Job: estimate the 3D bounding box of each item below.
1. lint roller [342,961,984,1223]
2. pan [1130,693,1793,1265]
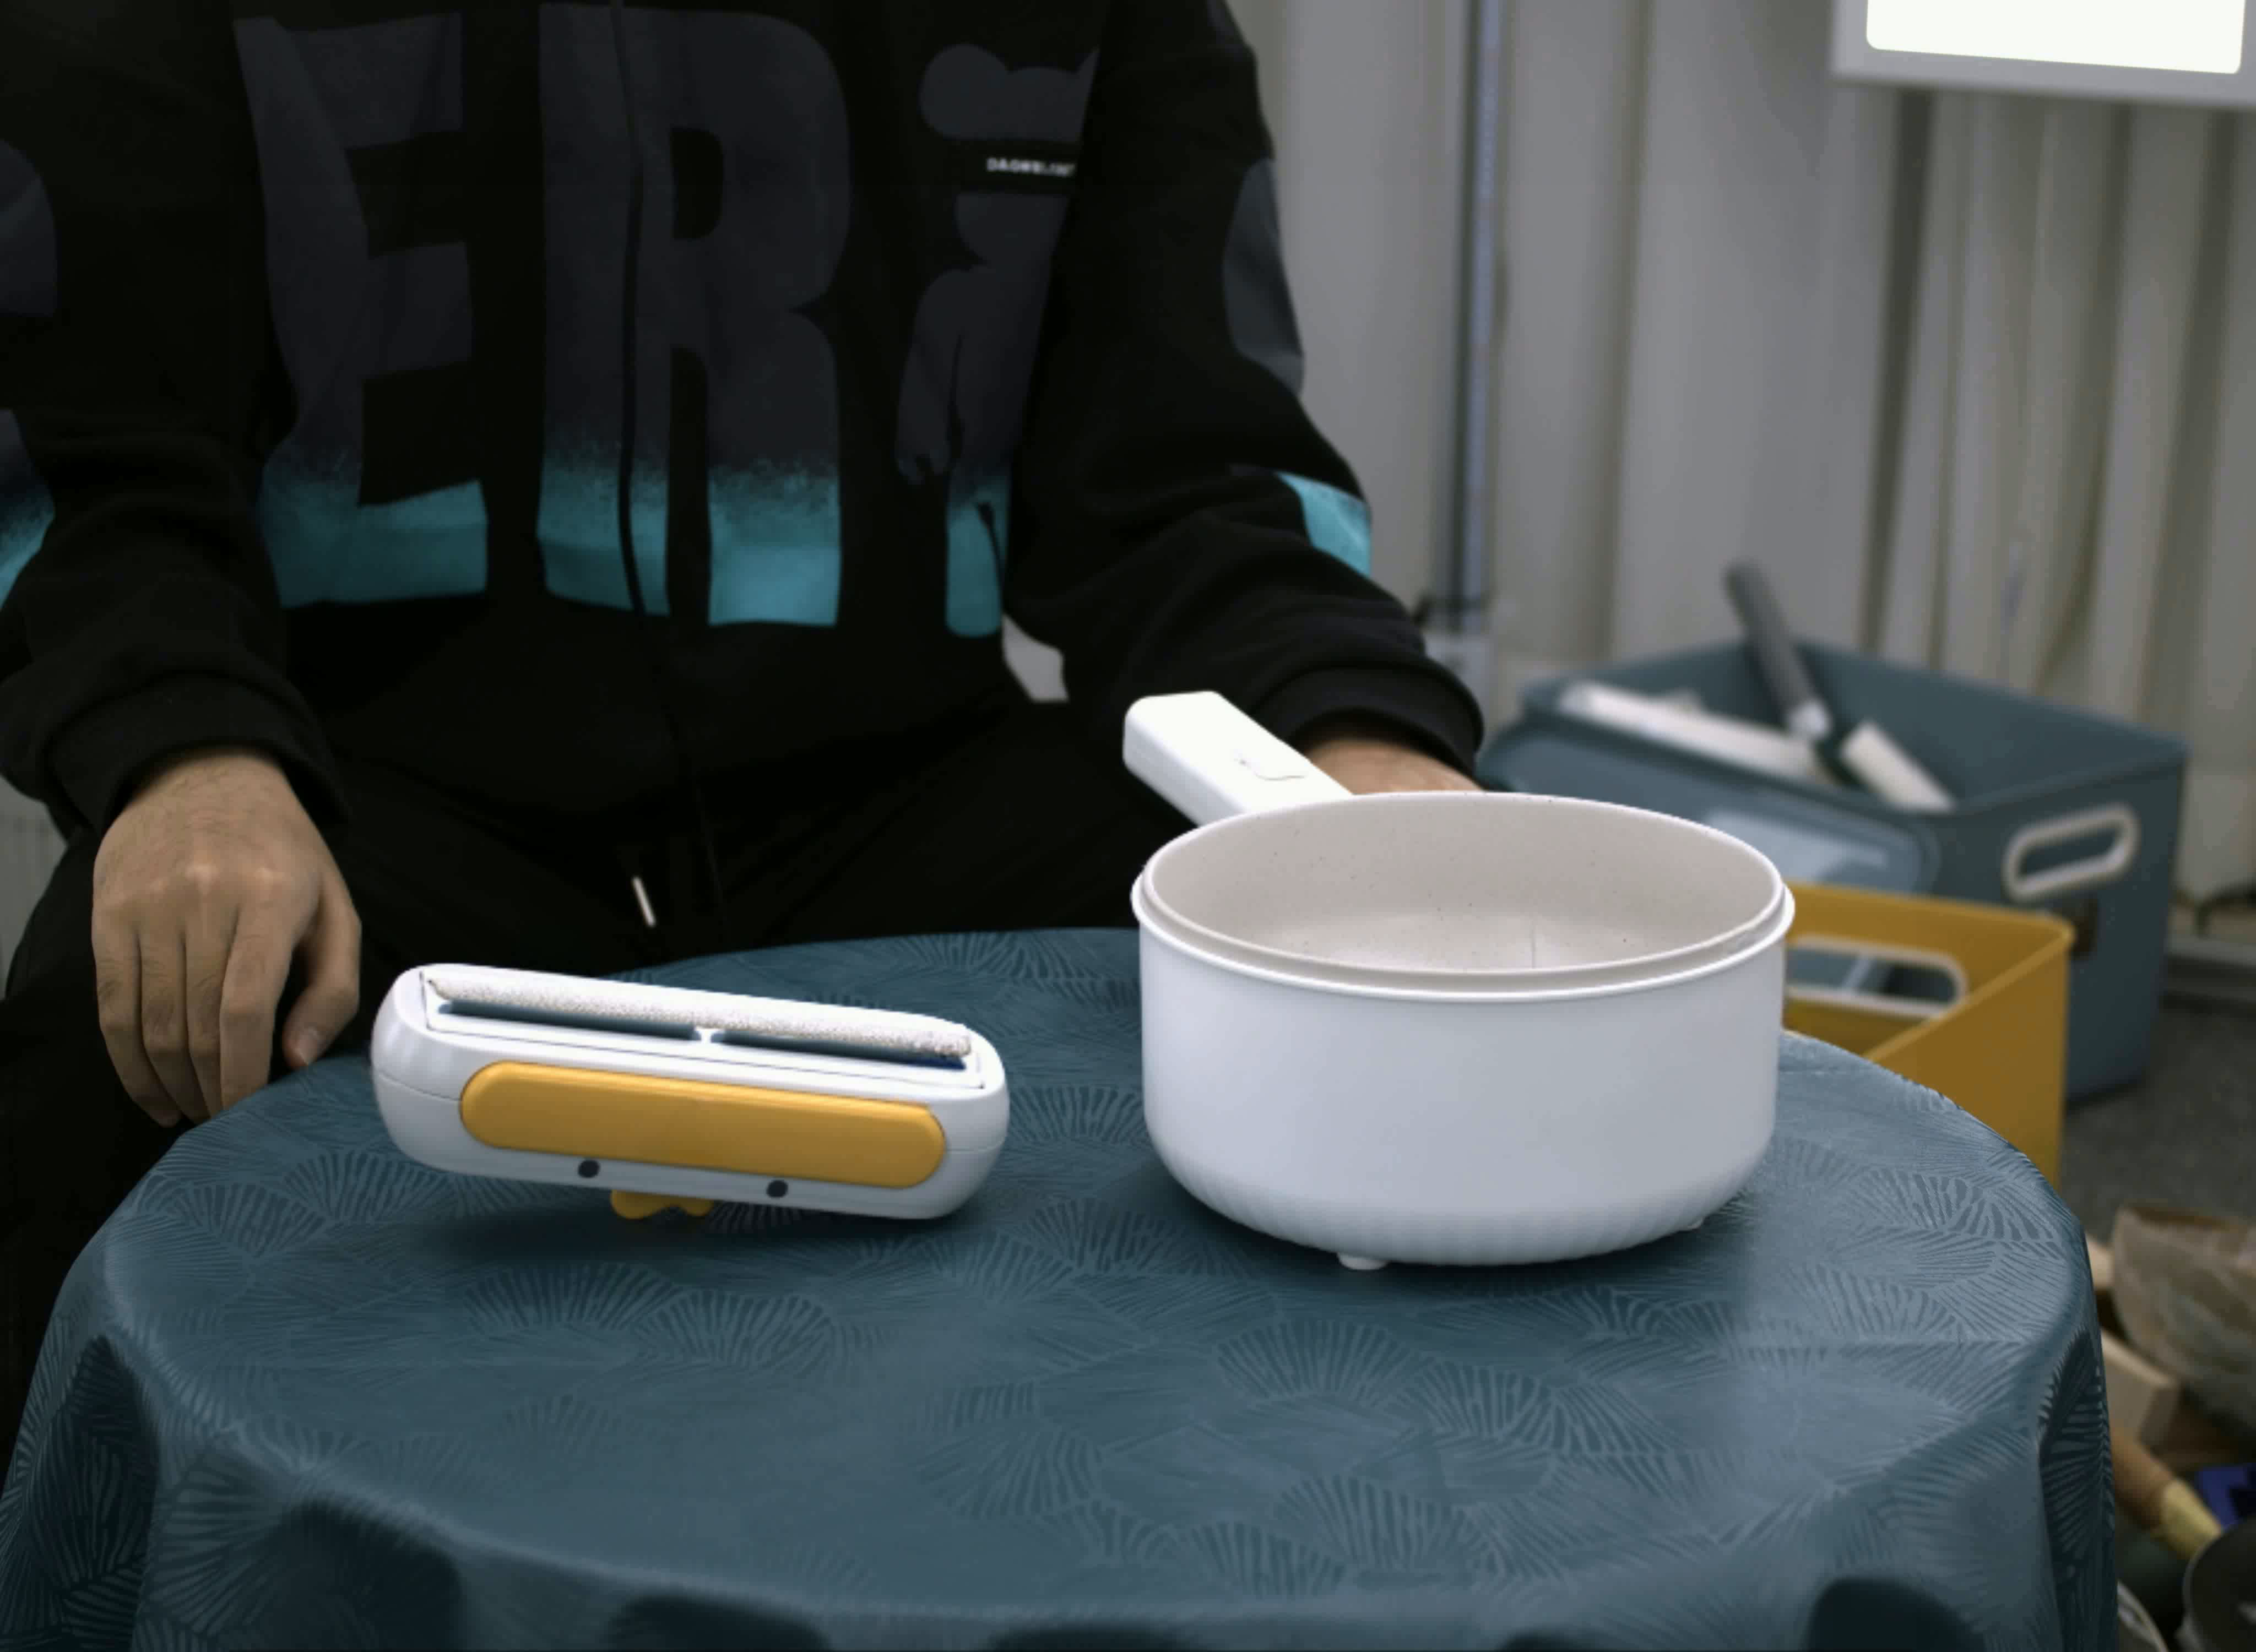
[{"bbox_3d":[-0.147,0.072,1.634,0.193,0.075,0.191,3,13,-10],"label":"lint roller"},{"bbox_3d":[0.075,0.044,1.677,0.202,0.103,0.351,-5,16,-19],"label":"pan"}]
